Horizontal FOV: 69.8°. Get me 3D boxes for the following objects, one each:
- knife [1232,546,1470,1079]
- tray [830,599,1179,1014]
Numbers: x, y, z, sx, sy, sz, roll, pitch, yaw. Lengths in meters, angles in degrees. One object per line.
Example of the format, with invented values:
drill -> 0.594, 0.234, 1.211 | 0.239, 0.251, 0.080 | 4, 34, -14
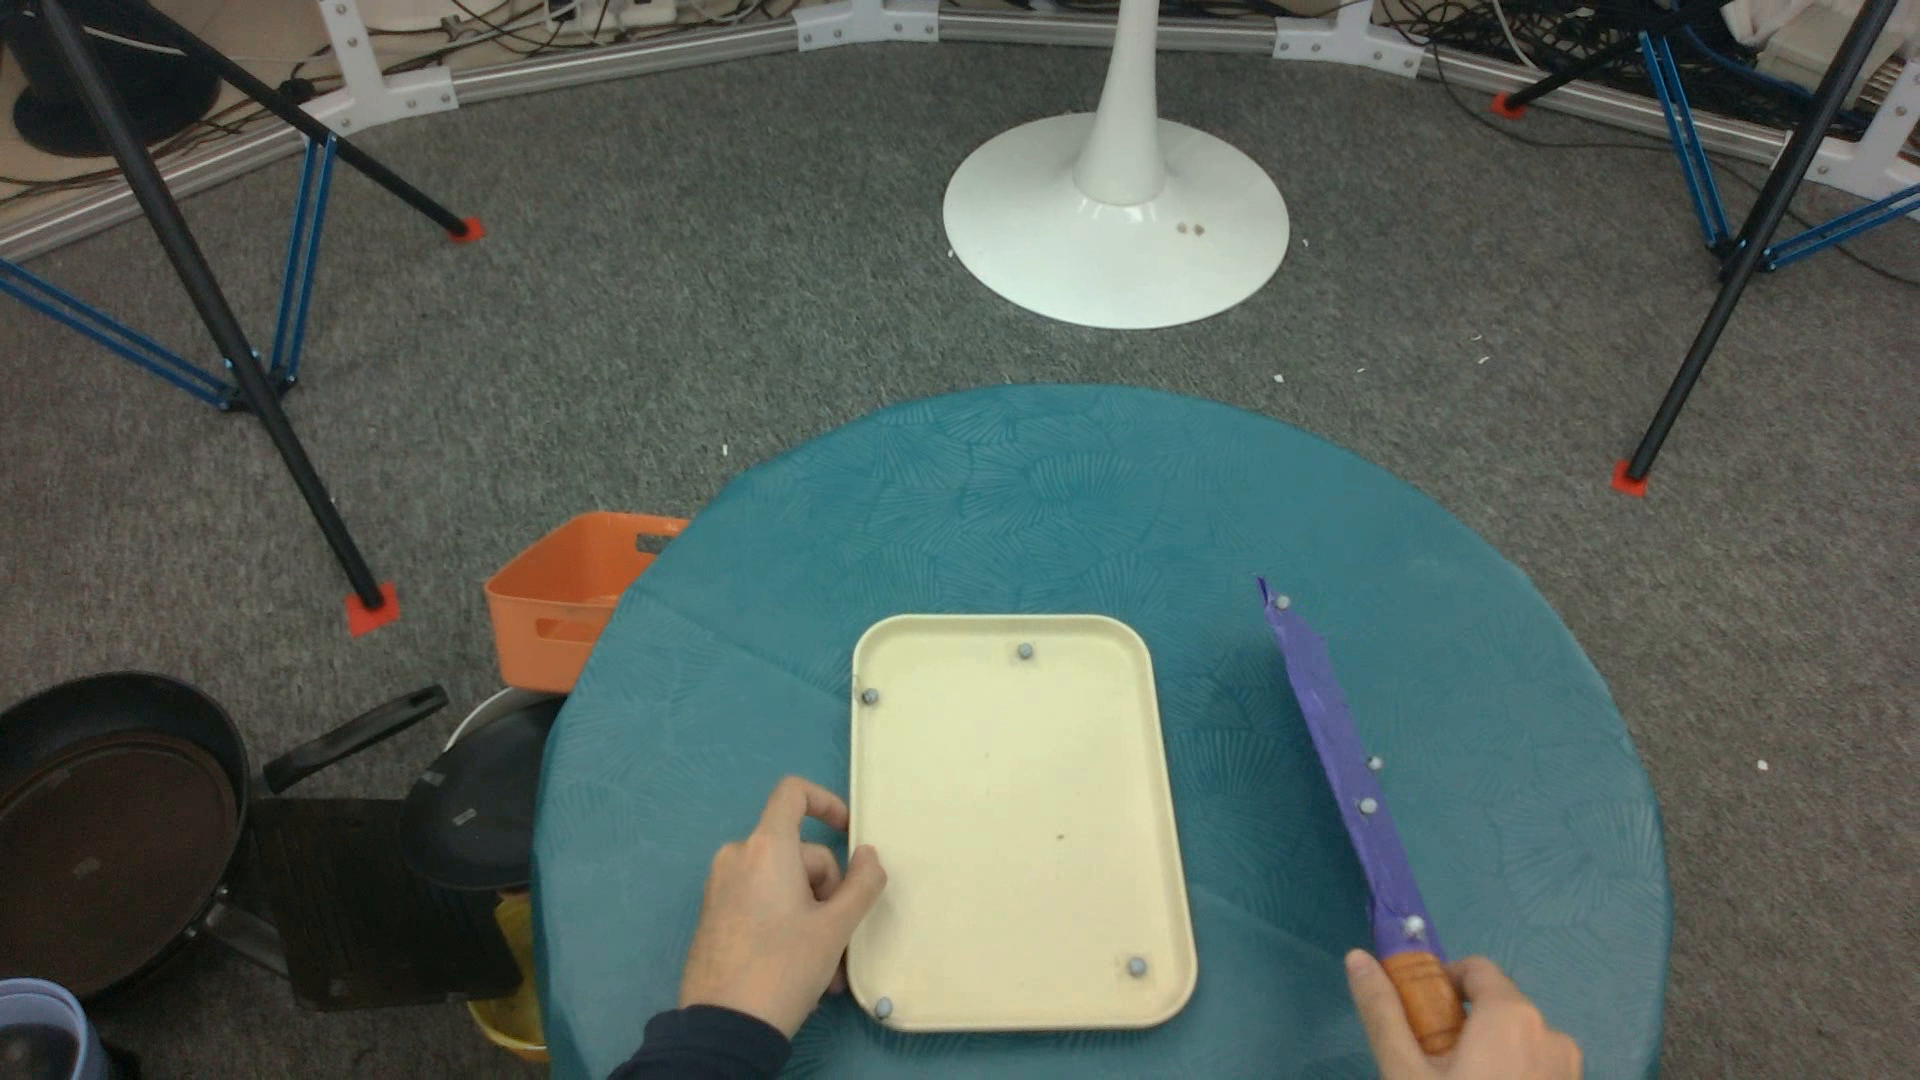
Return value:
knife -> 0.200, 0.141, 0.678 | 0.032, 0.104, 0.316 | -31, 46, 25
tray -> 0.018, 0.131, 0.724 | 0.171, 0.017, 0.241 | 1, 50, -5
